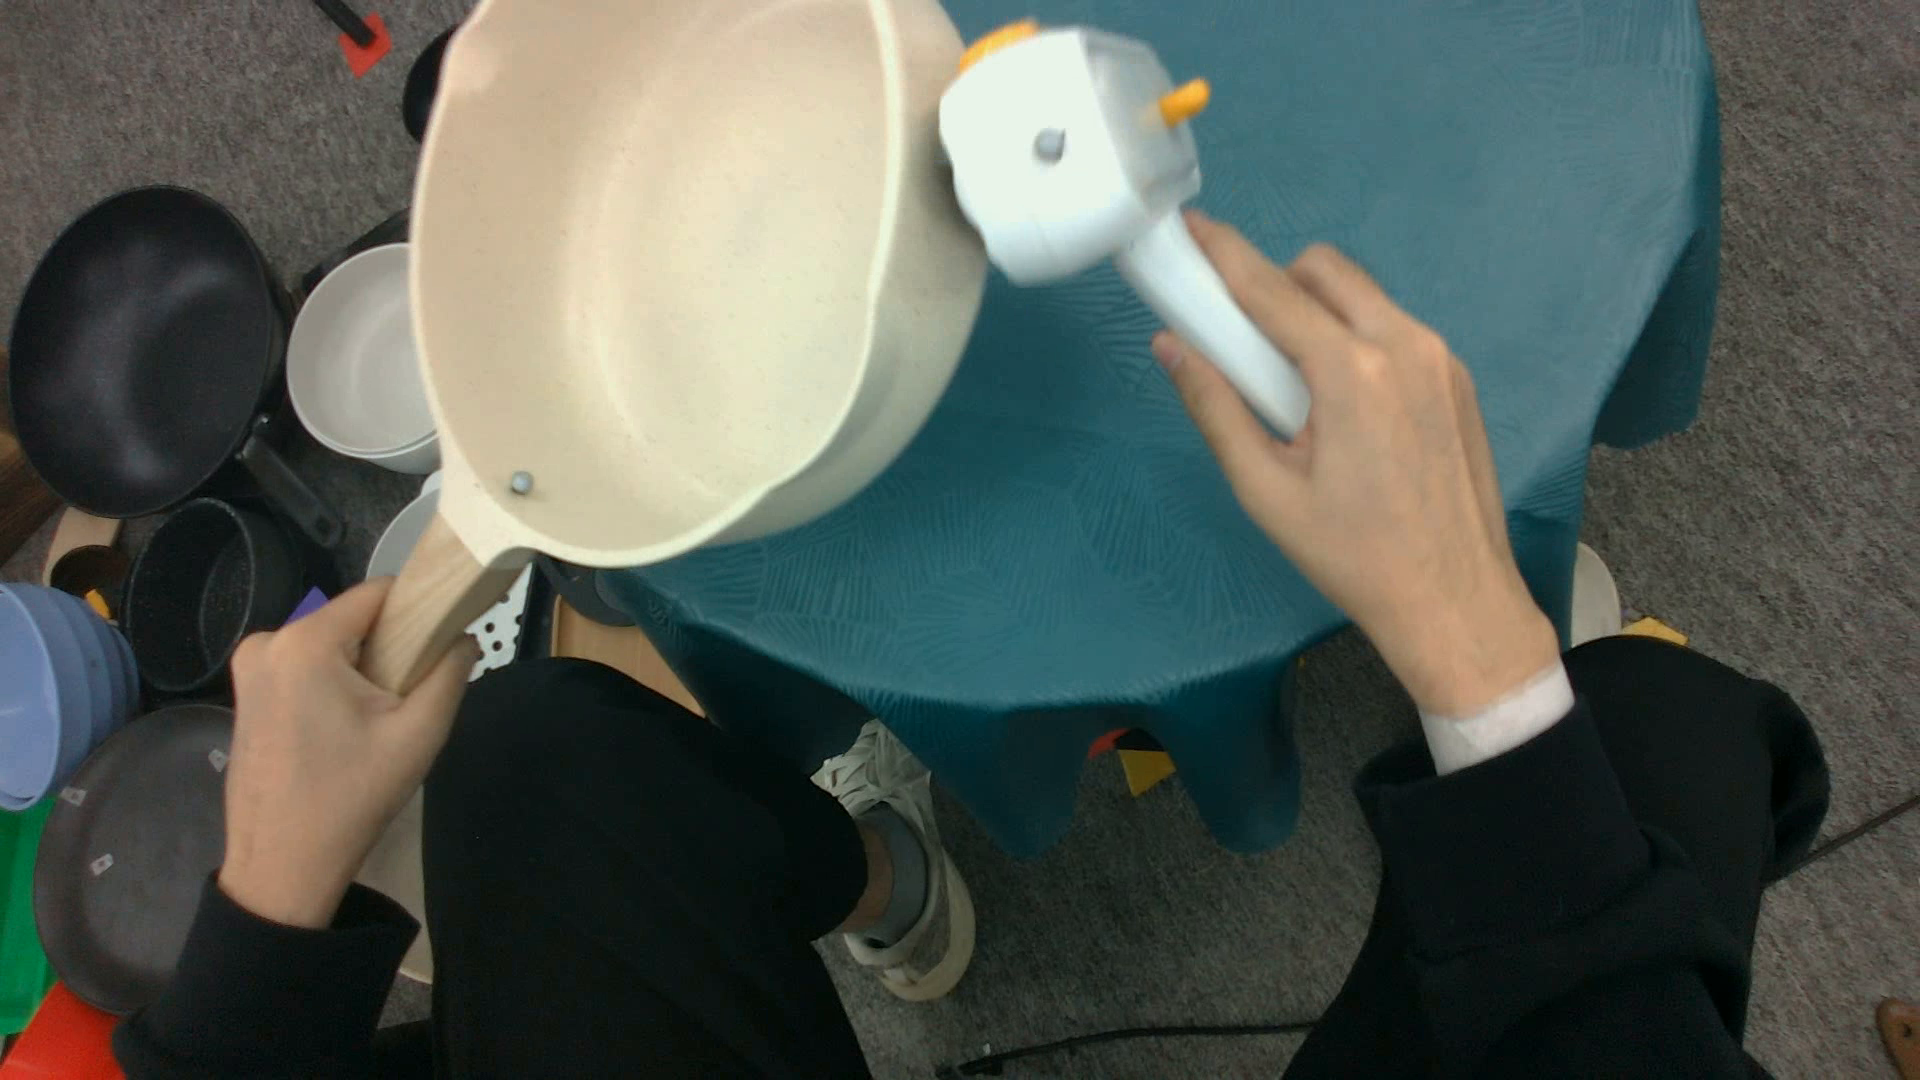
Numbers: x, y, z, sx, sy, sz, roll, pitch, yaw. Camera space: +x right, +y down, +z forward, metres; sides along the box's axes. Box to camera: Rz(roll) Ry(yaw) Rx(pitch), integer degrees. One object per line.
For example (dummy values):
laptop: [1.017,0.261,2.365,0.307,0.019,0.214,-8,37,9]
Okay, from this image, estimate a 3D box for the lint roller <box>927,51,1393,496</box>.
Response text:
lint roller: [0.076,-0.085,0.481,0.074,0.193,0.192,-34,99,17]

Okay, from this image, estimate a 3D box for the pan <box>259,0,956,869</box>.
pan: [-0.157,-0.050,0.538,0.263,0.102,0.433,40,111,26]
